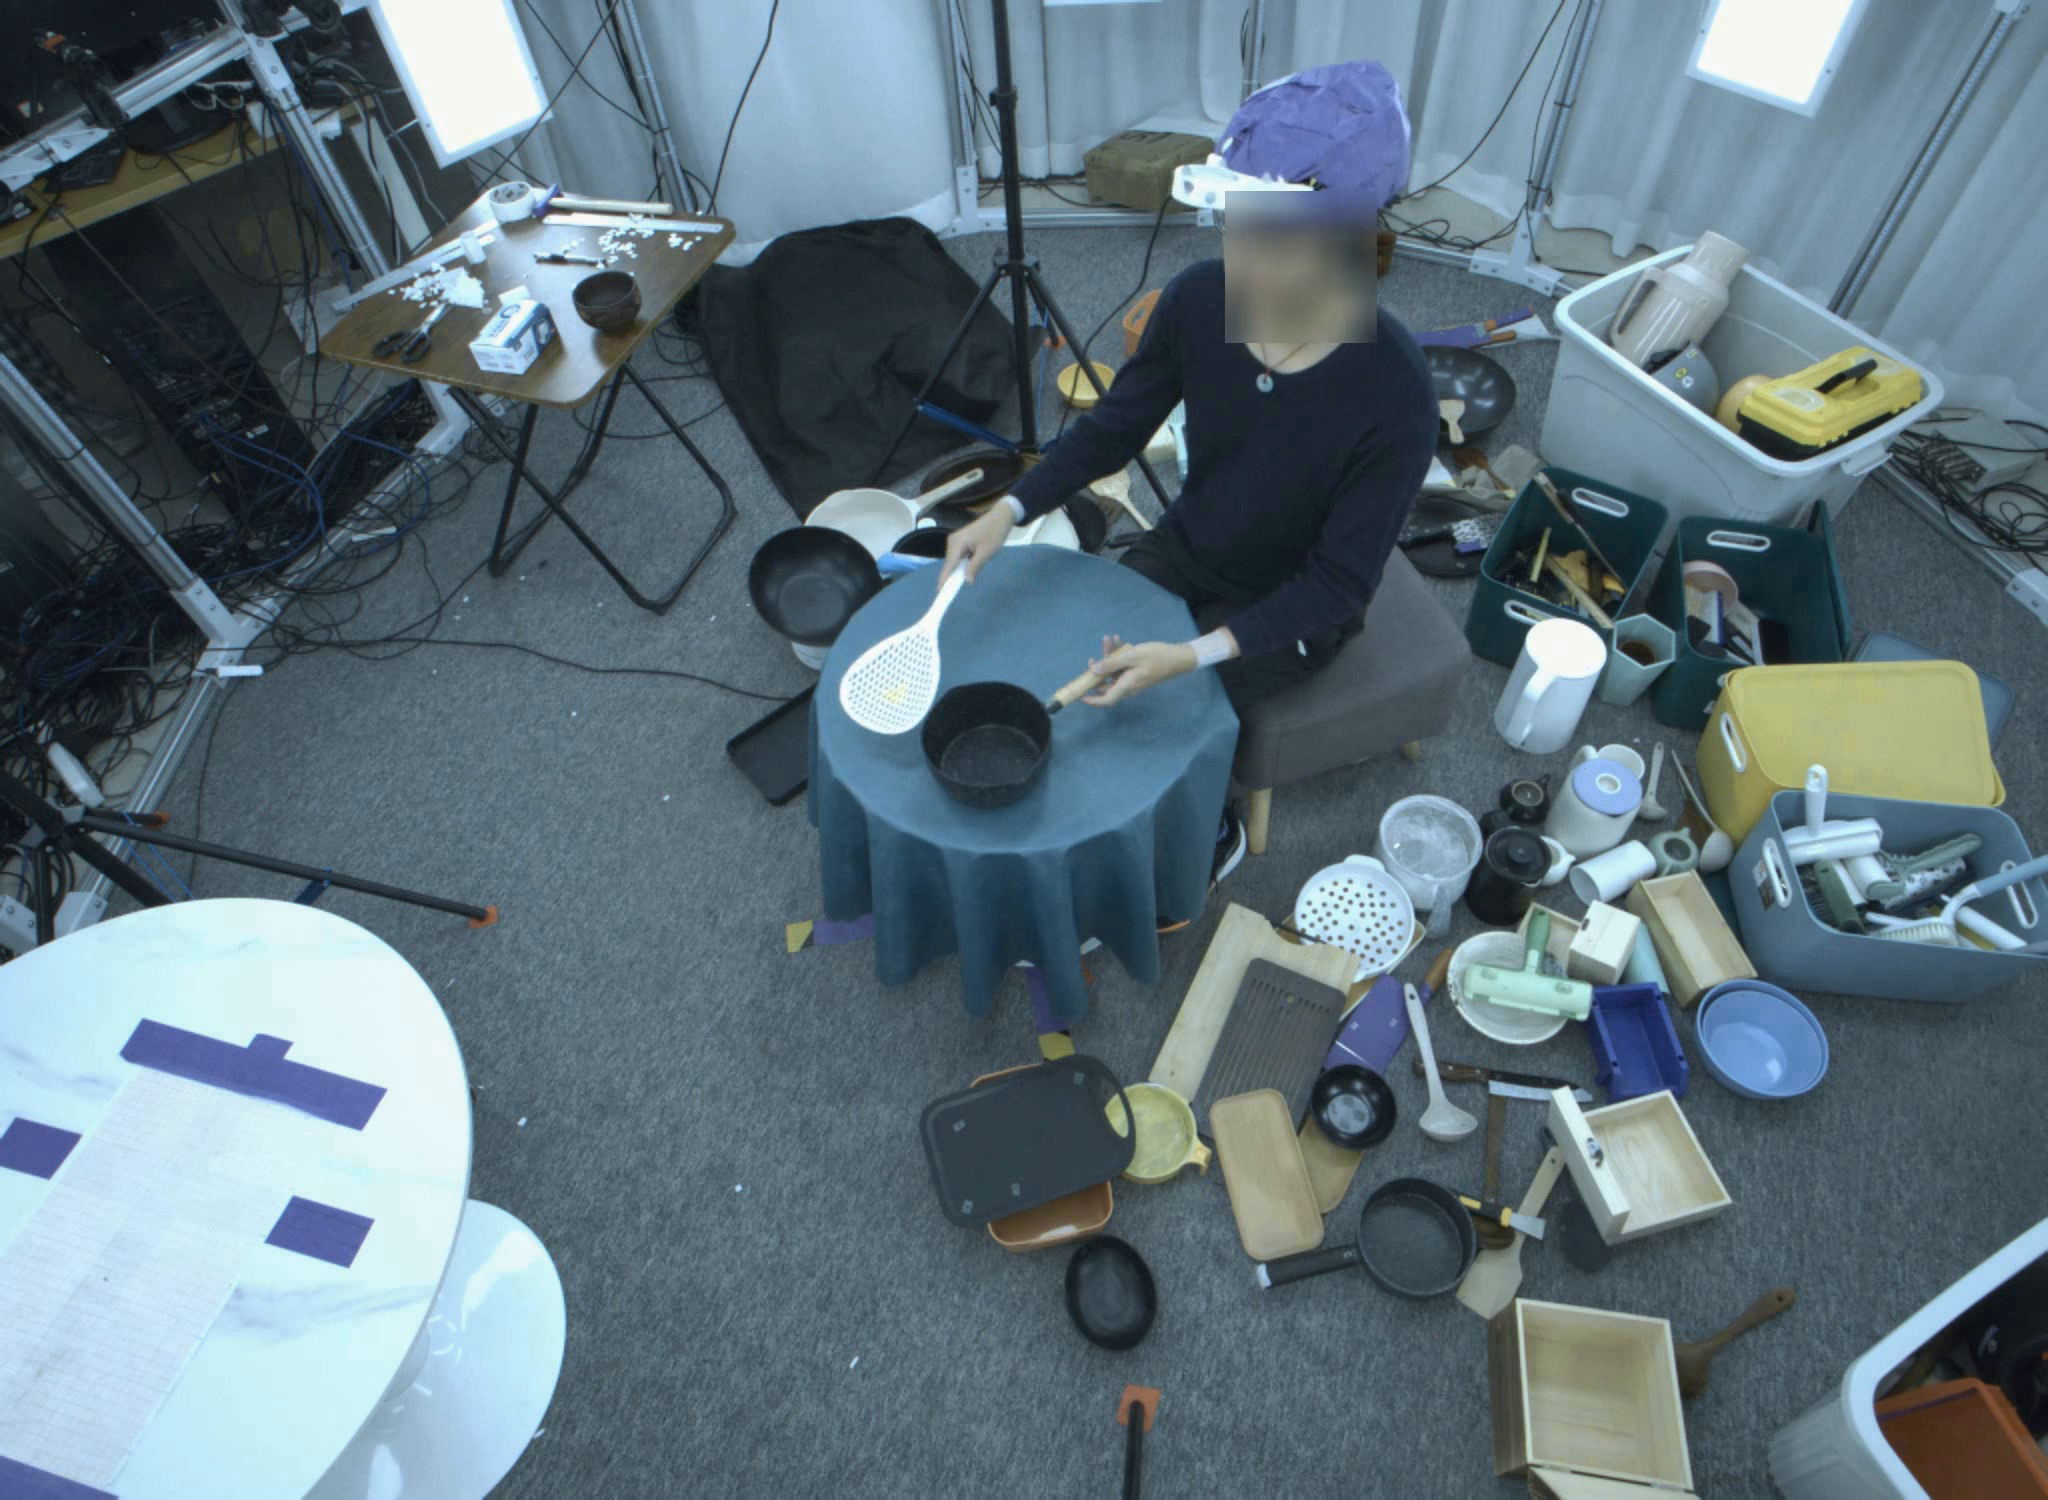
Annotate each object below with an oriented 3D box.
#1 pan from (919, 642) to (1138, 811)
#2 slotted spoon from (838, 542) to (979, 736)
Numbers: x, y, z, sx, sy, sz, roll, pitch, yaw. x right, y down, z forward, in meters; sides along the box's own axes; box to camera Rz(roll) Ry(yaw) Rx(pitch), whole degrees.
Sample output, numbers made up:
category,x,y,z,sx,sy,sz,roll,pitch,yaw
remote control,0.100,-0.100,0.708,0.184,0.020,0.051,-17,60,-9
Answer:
category,x,y,z,sx,sy,sz,roll,pitch,yaw
pan,0.016,-0.044,1.751,0.345,0.109,0.203,-30,58,-16
slotted spoon,-0.147,-0.172,1.808,0.136,0.050,0.348,25,75,9
